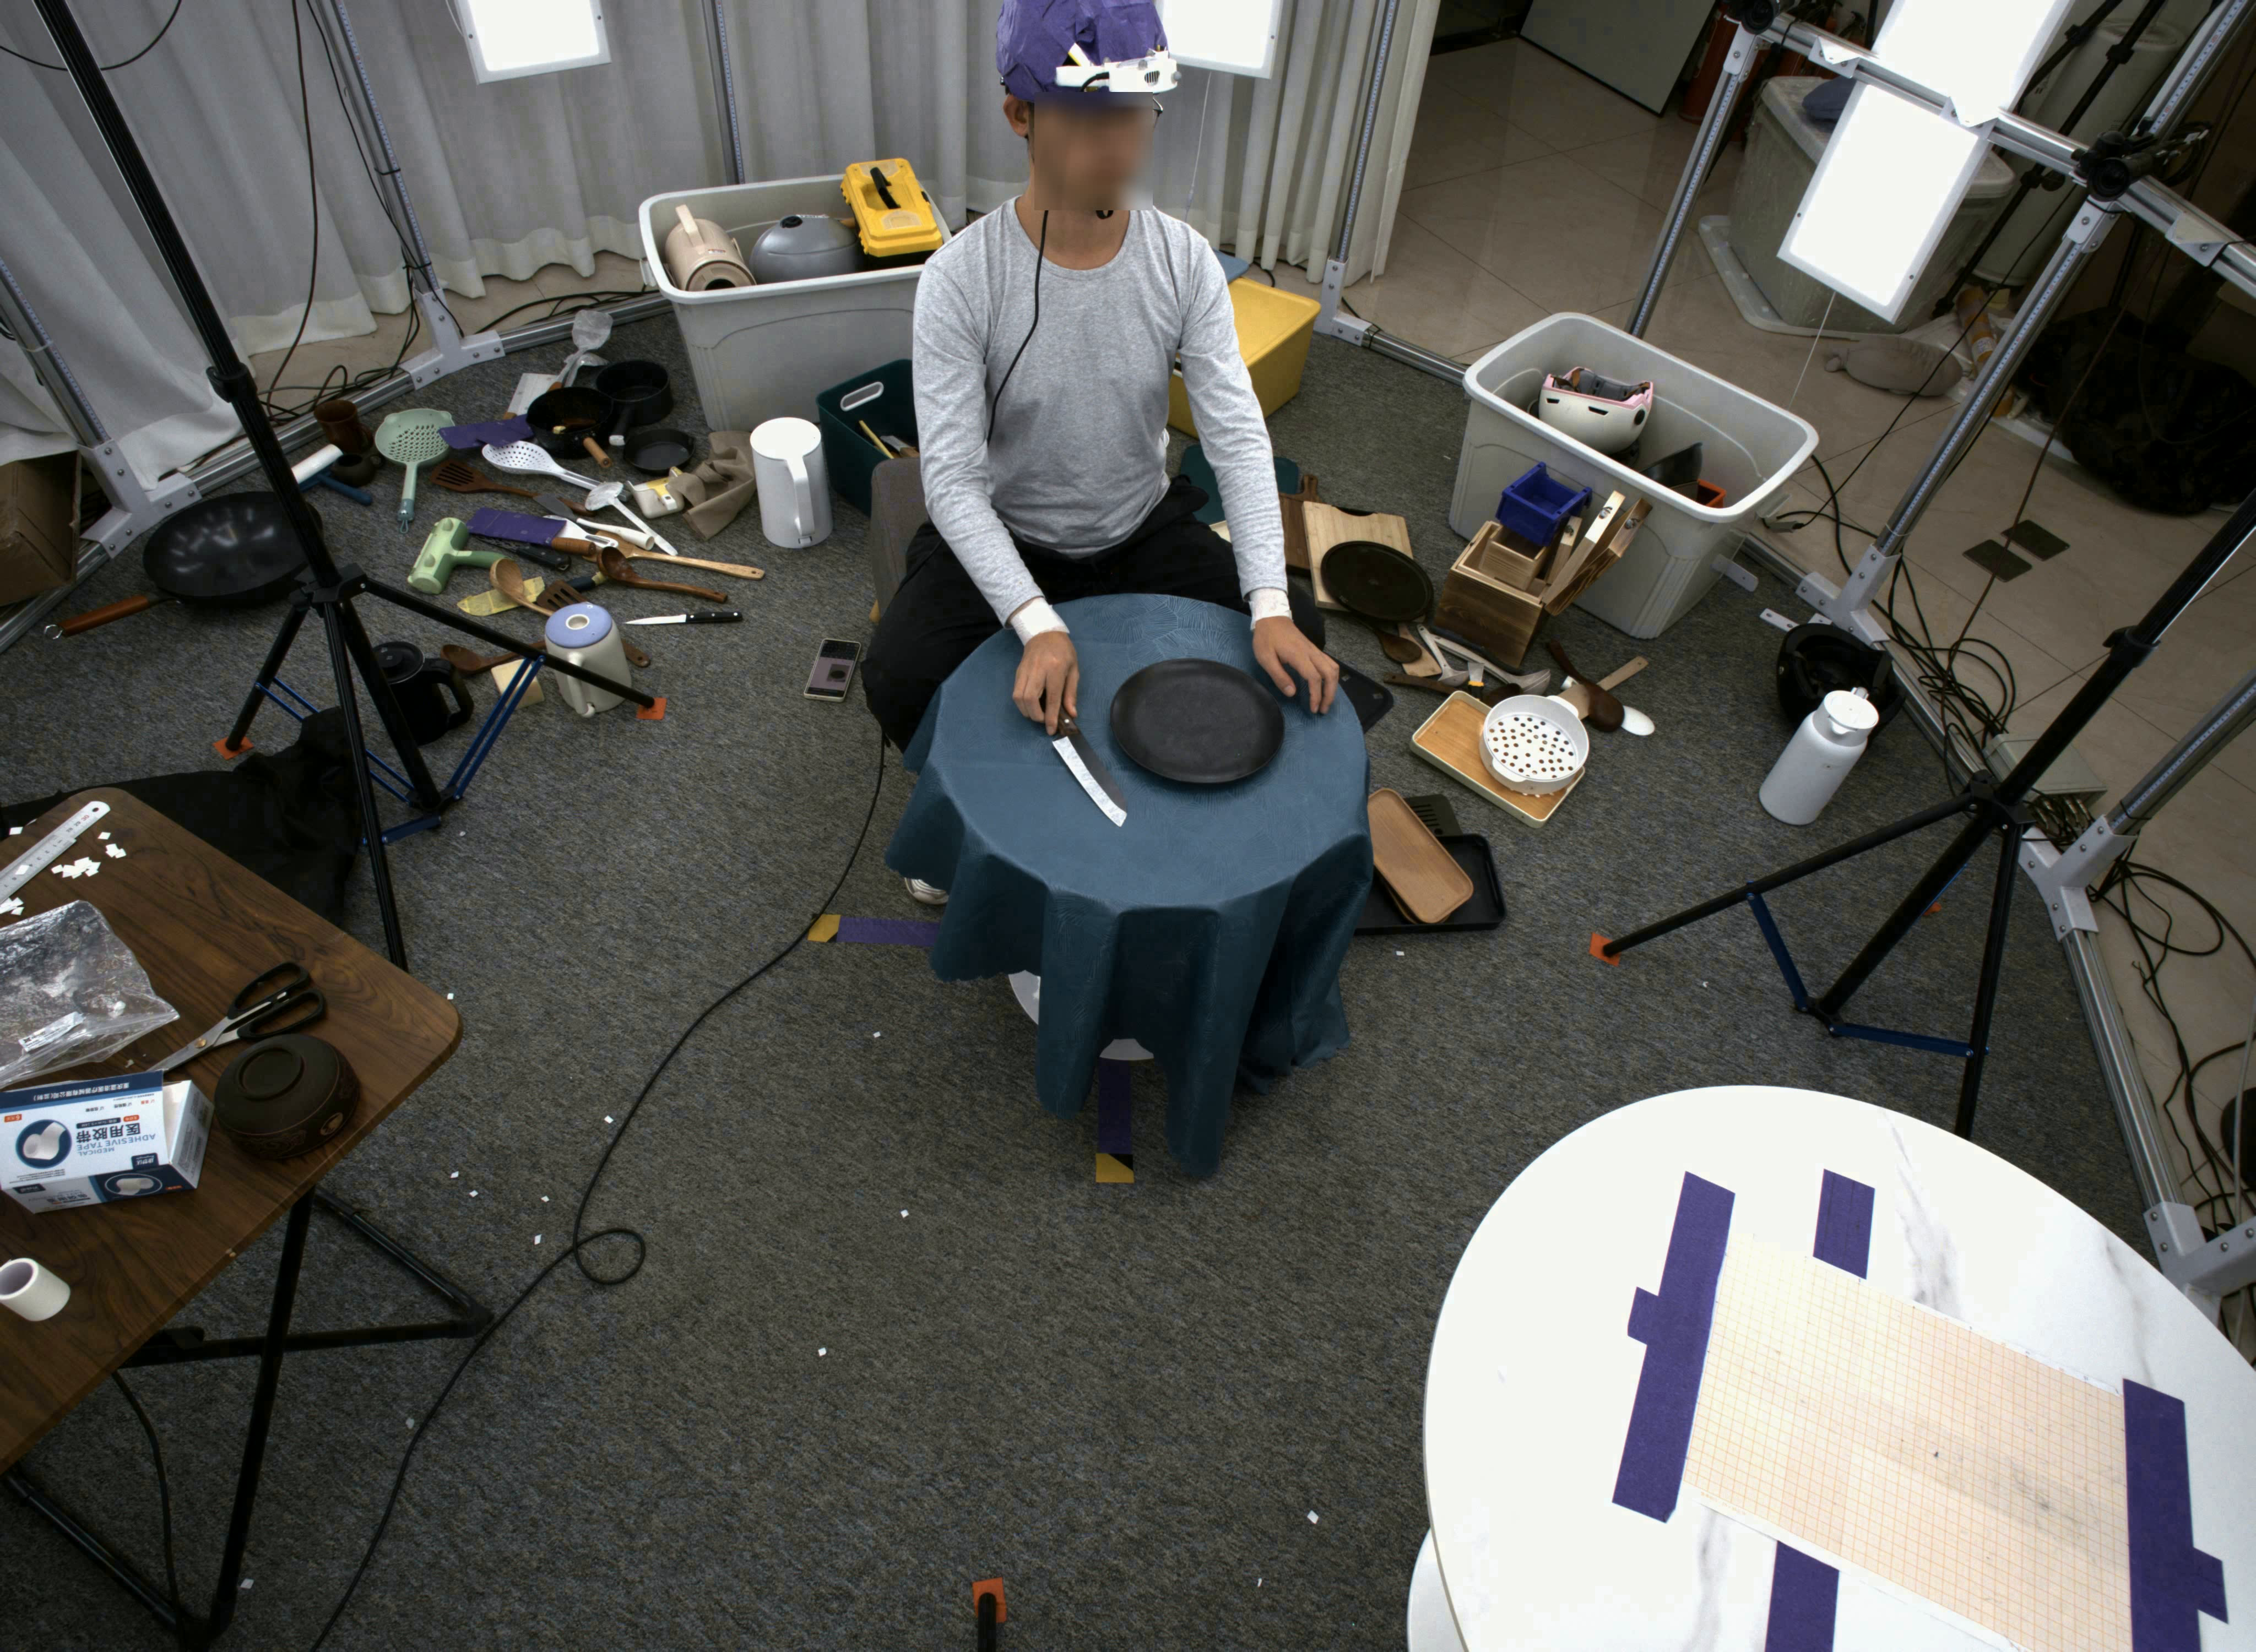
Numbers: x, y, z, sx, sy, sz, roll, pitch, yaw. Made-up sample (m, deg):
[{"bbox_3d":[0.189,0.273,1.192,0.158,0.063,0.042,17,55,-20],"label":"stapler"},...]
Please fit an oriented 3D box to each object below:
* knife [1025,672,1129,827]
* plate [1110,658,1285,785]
[{"bbox_3d":[-0.071,-0.107,1.743,0.050,0.019,0.295,-21,57,-16],"label":"knife"},{"bbox_3d":[0.096,-0.144,1.784,0.244,0.023,0.250,2,49,-2],"label":"plate"}]
